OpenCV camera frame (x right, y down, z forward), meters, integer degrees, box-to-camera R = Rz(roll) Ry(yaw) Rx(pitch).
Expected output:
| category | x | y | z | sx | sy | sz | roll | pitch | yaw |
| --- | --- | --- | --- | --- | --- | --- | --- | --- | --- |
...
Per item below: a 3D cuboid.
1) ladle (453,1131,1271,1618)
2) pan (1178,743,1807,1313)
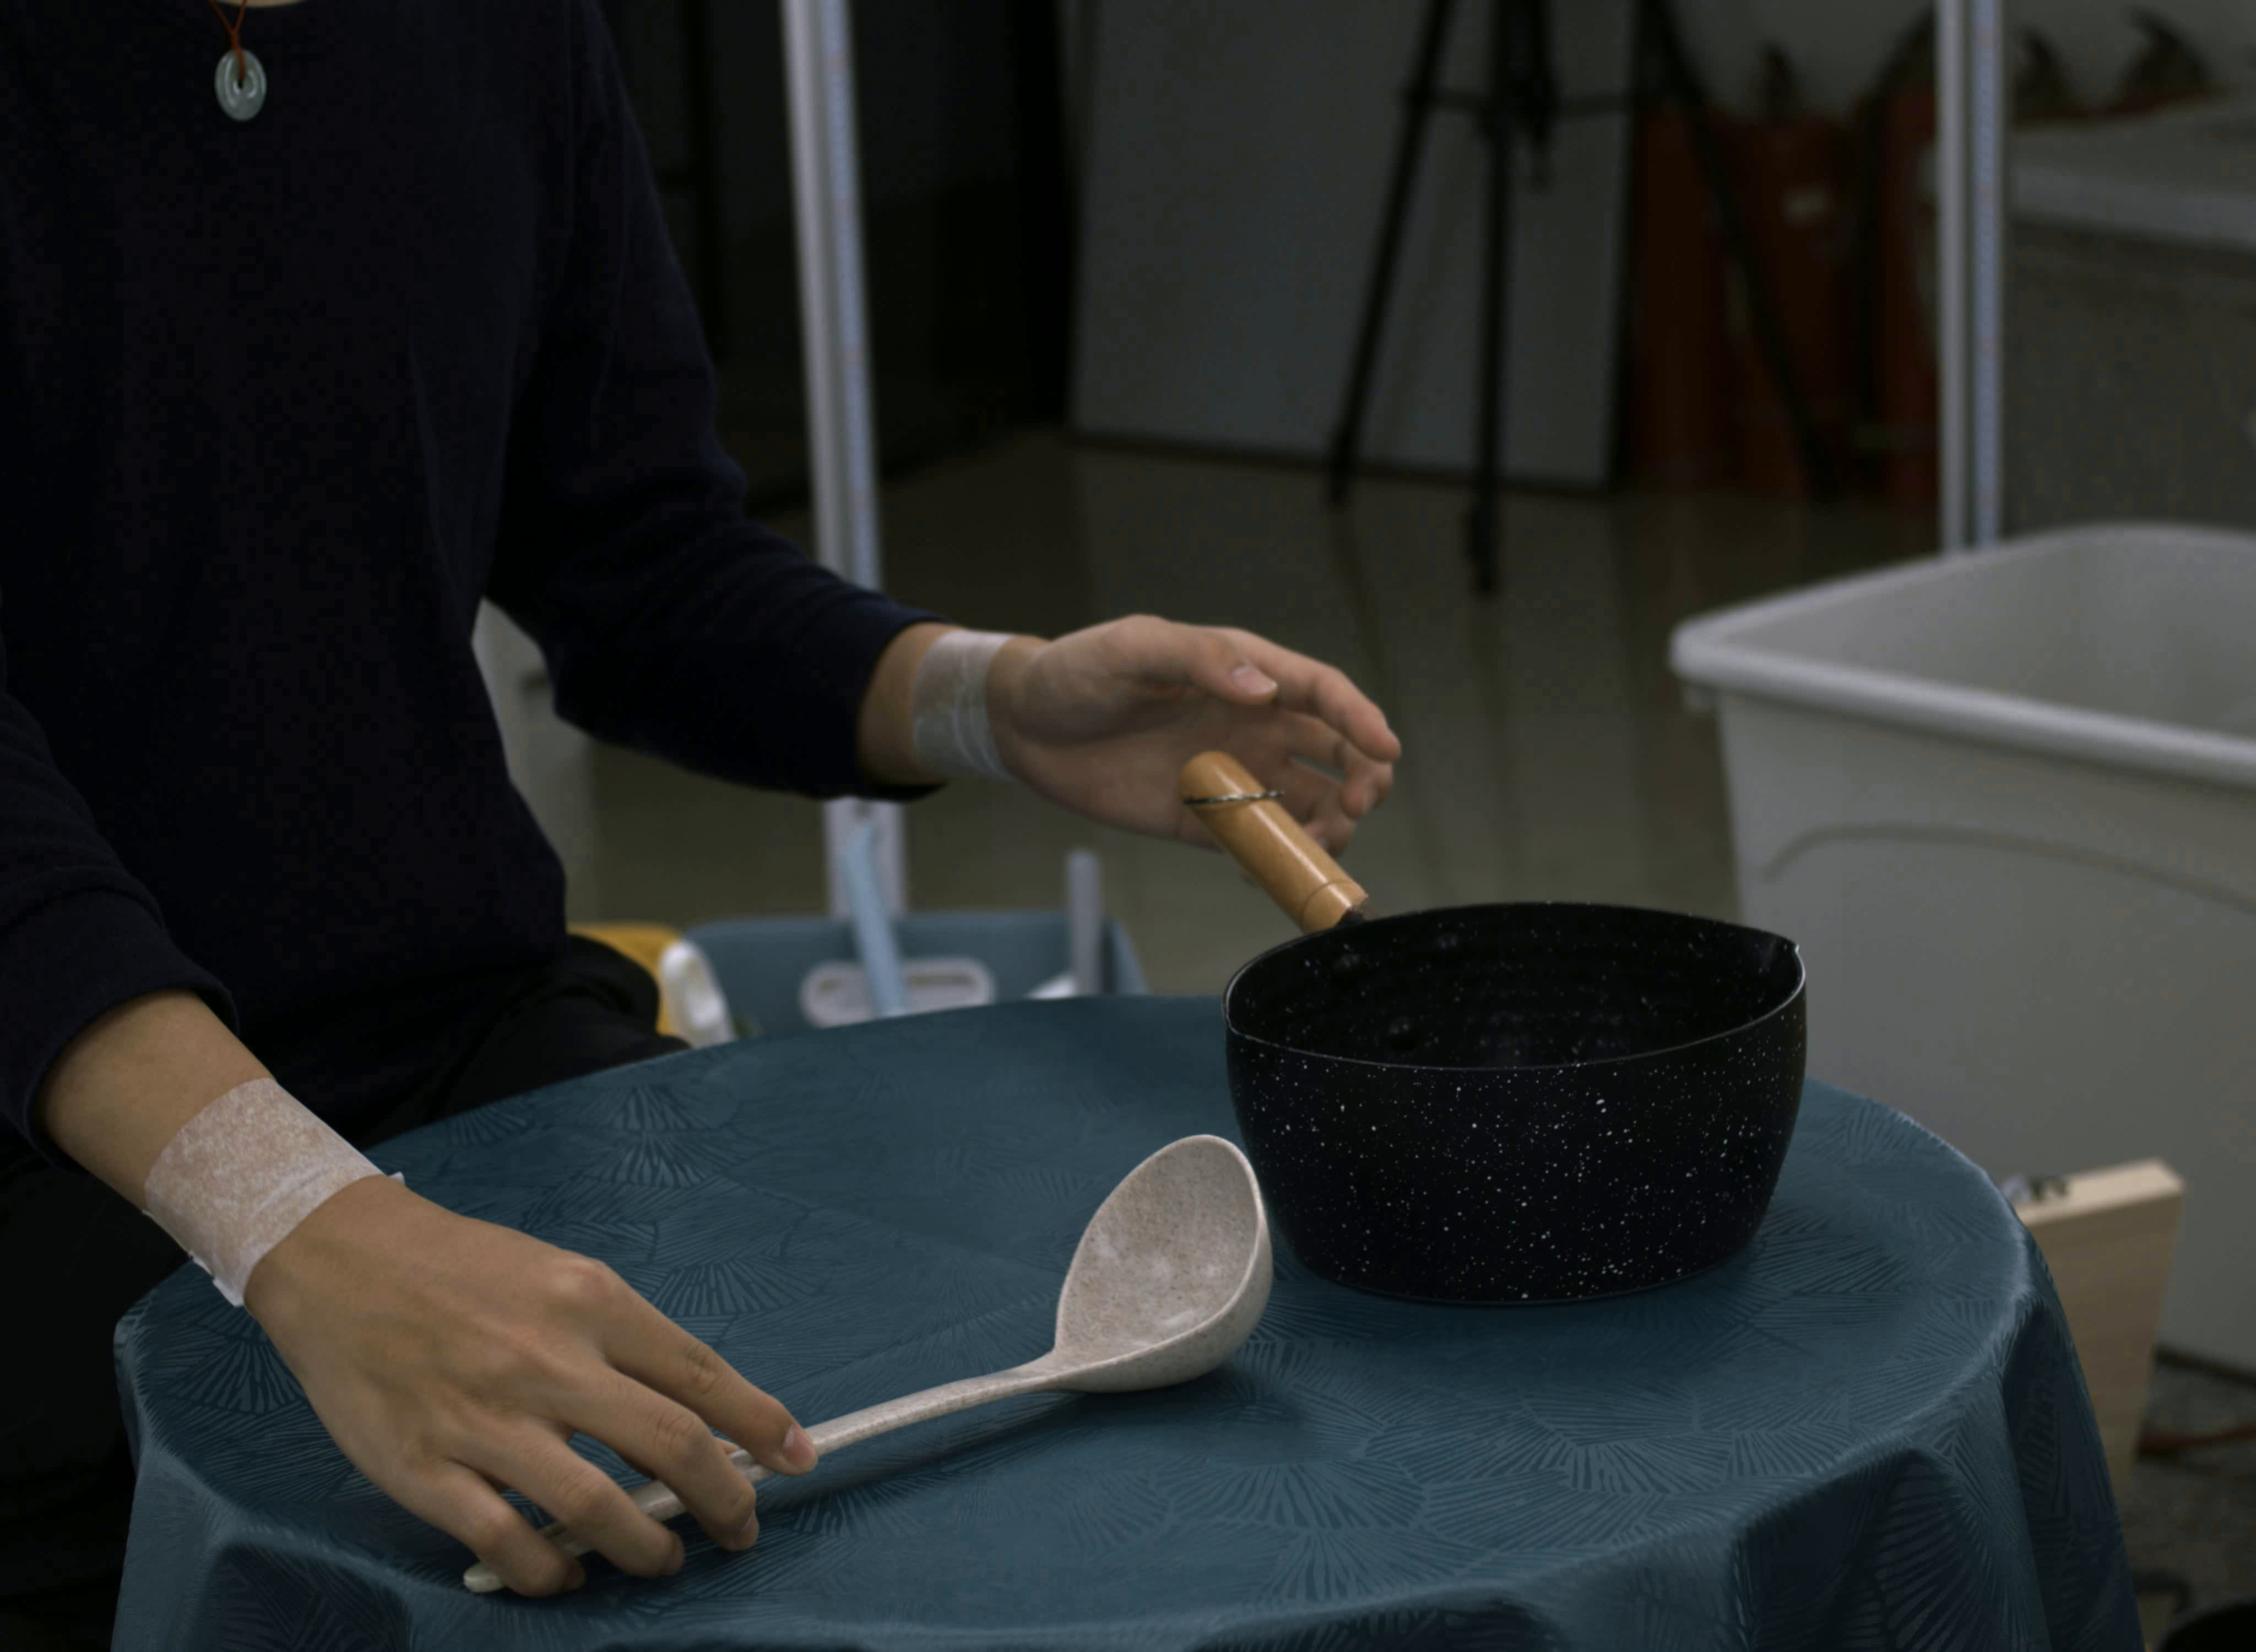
| category | x | y | z | sx | sy | sz | roll | pitch | yaw |
| --- | --- | --- | --- | --- | --- | --- | --- | --- | --- |
| ladle | -0.076 | 0.152 | 1.532 | 0.269 | 0.070 | 0.090 | -15 | 12 | -33 |
| pan | 0.091 | 0.060 | 1.763 | 0.203 | 0.109 | 0.346 | -10 | 16 | -21 |
